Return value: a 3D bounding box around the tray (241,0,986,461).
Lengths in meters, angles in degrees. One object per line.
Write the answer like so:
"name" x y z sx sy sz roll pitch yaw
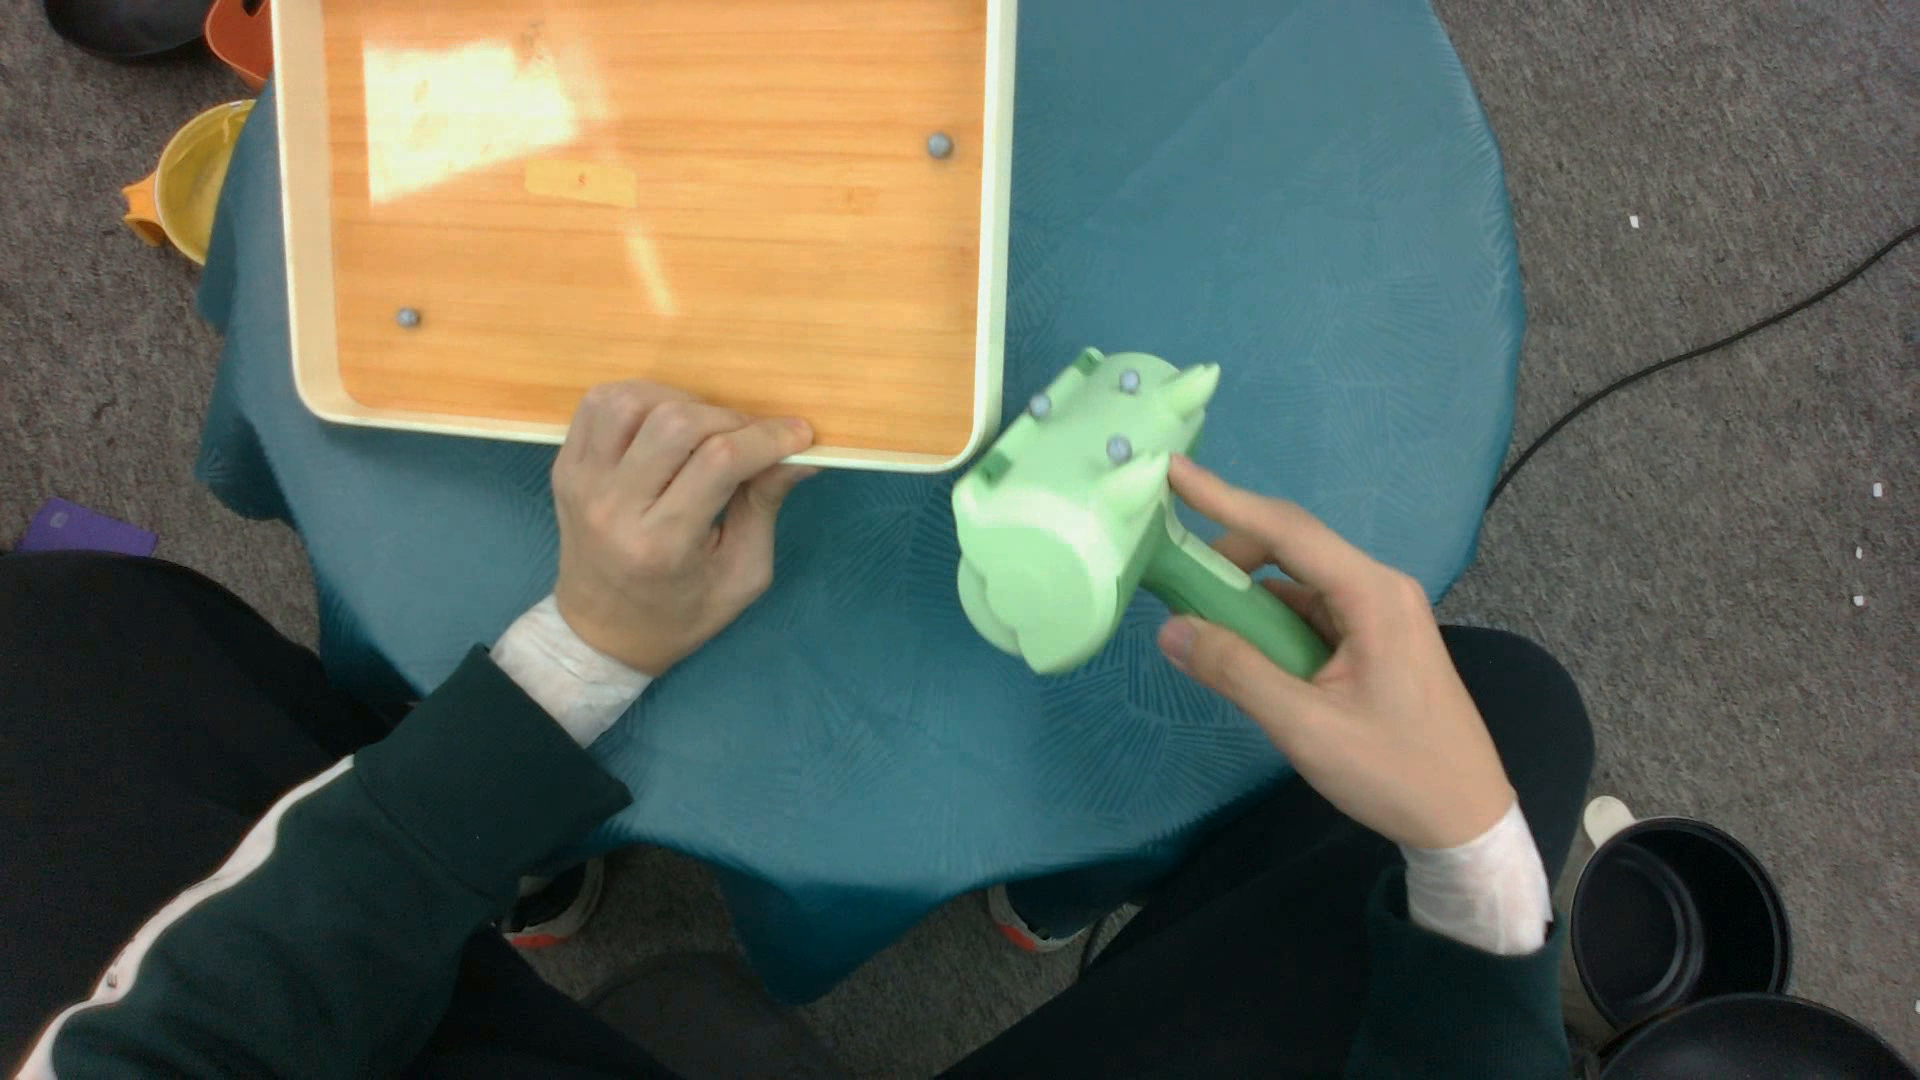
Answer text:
"tray" -0.137 -0.132 0.523 0.300 0.027 0.191 4 102 17

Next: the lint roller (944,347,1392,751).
"lint roller" 0.097 0.002 0.508 0.183 0.199 0.082 33 118 3
